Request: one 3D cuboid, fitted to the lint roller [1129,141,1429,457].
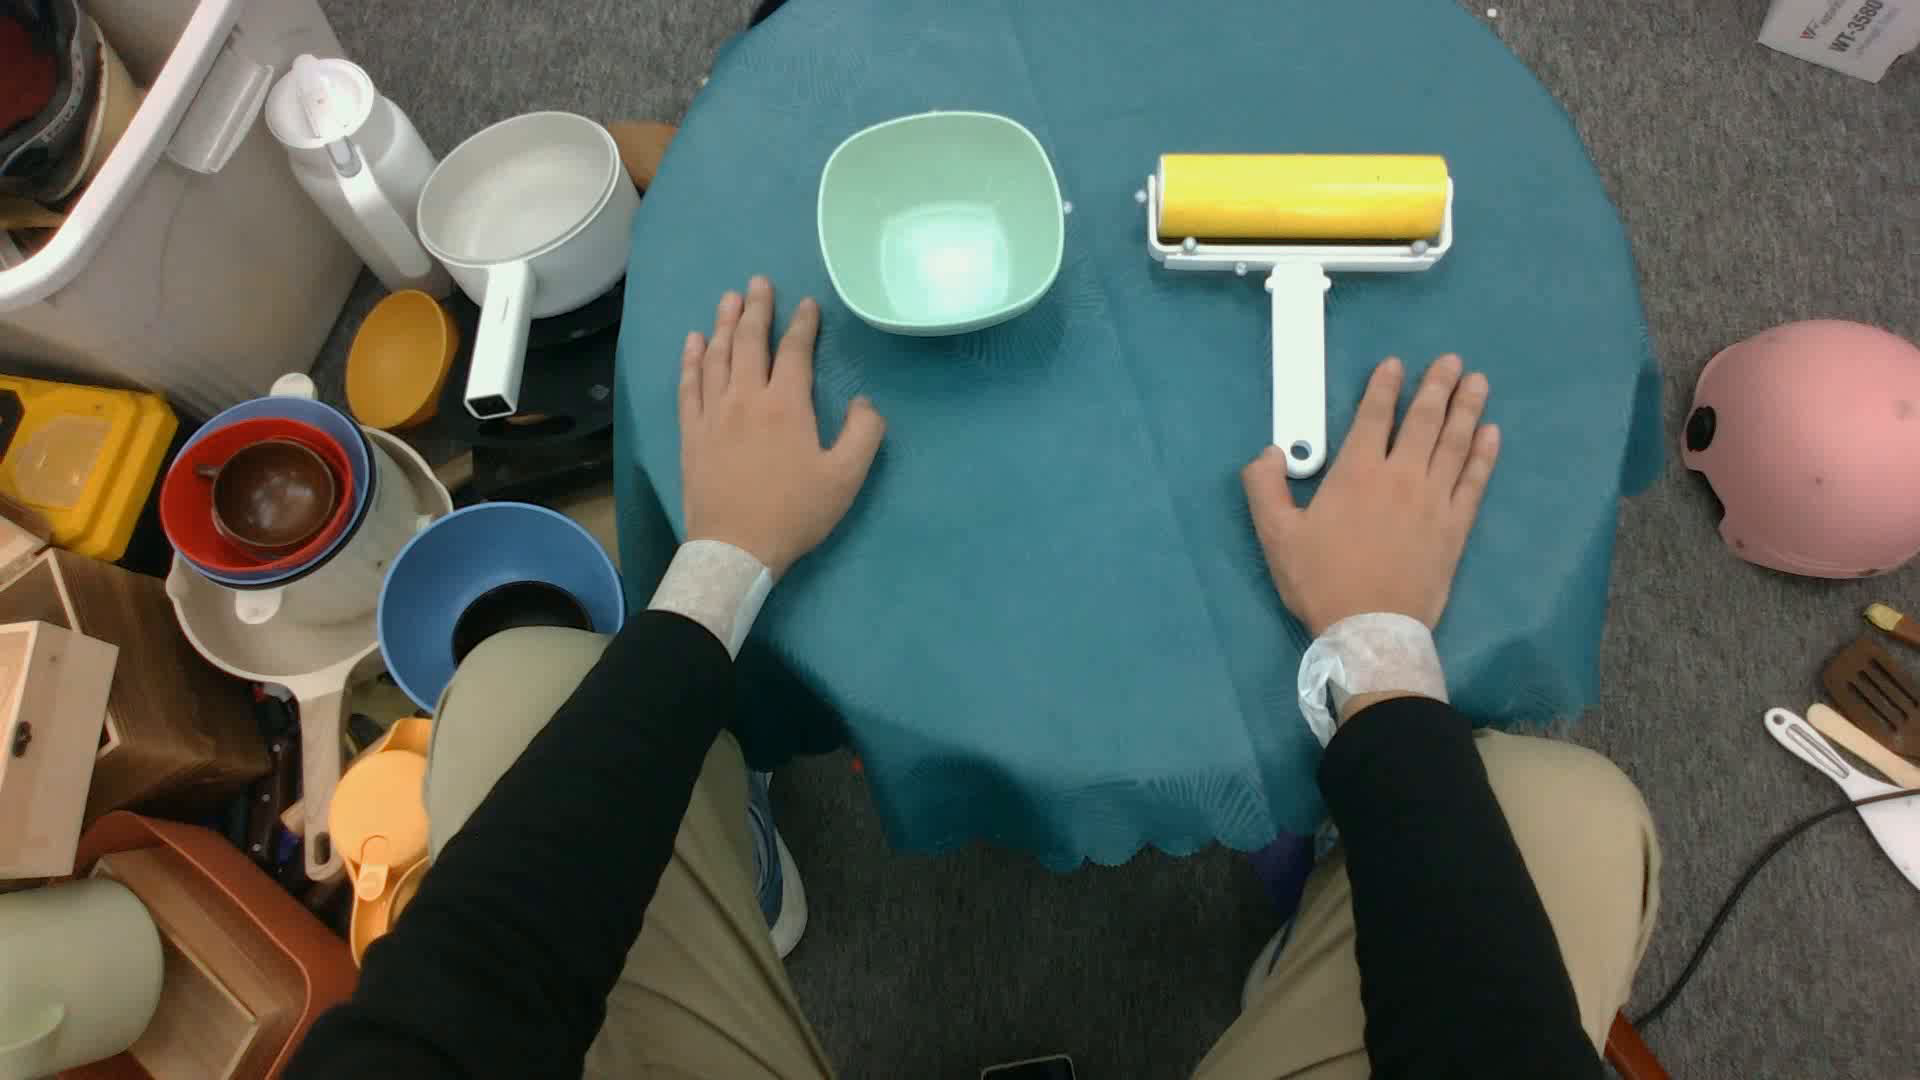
[{"bbox_3d":[0.187,-0.143,0.786,0.174,0.051,0.192,-1,66,1],"label":"lint roller"}]

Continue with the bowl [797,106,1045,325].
[{"bbox_3d":[-0.022,-0.178,0.801,0.151,0.058,0.152,0,68,1],"label":"bowl"}]
